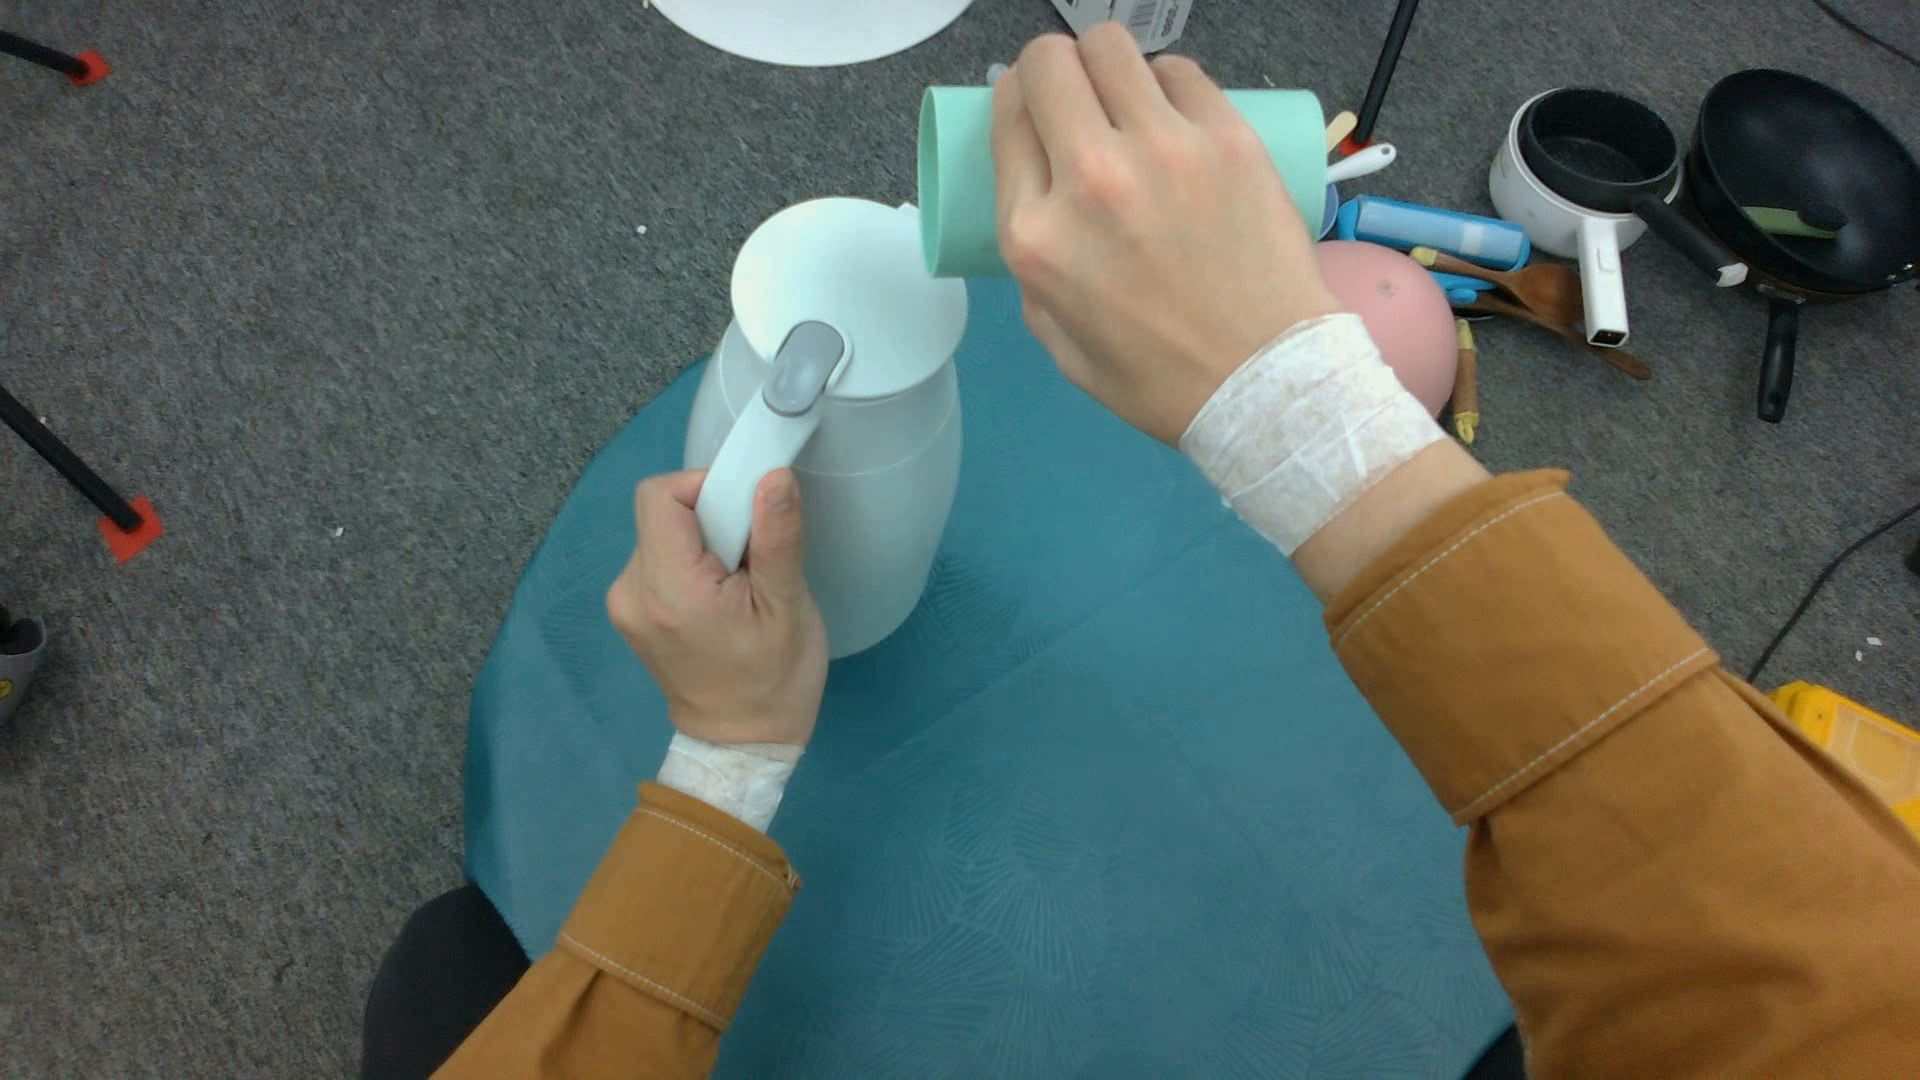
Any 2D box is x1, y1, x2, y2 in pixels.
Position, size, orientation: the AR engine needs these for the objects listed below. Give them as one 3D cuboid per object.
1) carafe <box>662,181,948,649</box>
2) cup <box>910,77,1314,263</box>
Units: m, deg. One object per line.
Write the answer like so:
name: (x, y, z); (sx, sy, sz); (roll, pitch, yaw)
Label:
carafe: (-0.078, -0.038, 0.624); (0.132, 0.247, 0.168); (30, 64, 2)
cup: (0.051, -0.131, 0.485); (0.132, 0.066, 0.067); (-3, 64, -9)
